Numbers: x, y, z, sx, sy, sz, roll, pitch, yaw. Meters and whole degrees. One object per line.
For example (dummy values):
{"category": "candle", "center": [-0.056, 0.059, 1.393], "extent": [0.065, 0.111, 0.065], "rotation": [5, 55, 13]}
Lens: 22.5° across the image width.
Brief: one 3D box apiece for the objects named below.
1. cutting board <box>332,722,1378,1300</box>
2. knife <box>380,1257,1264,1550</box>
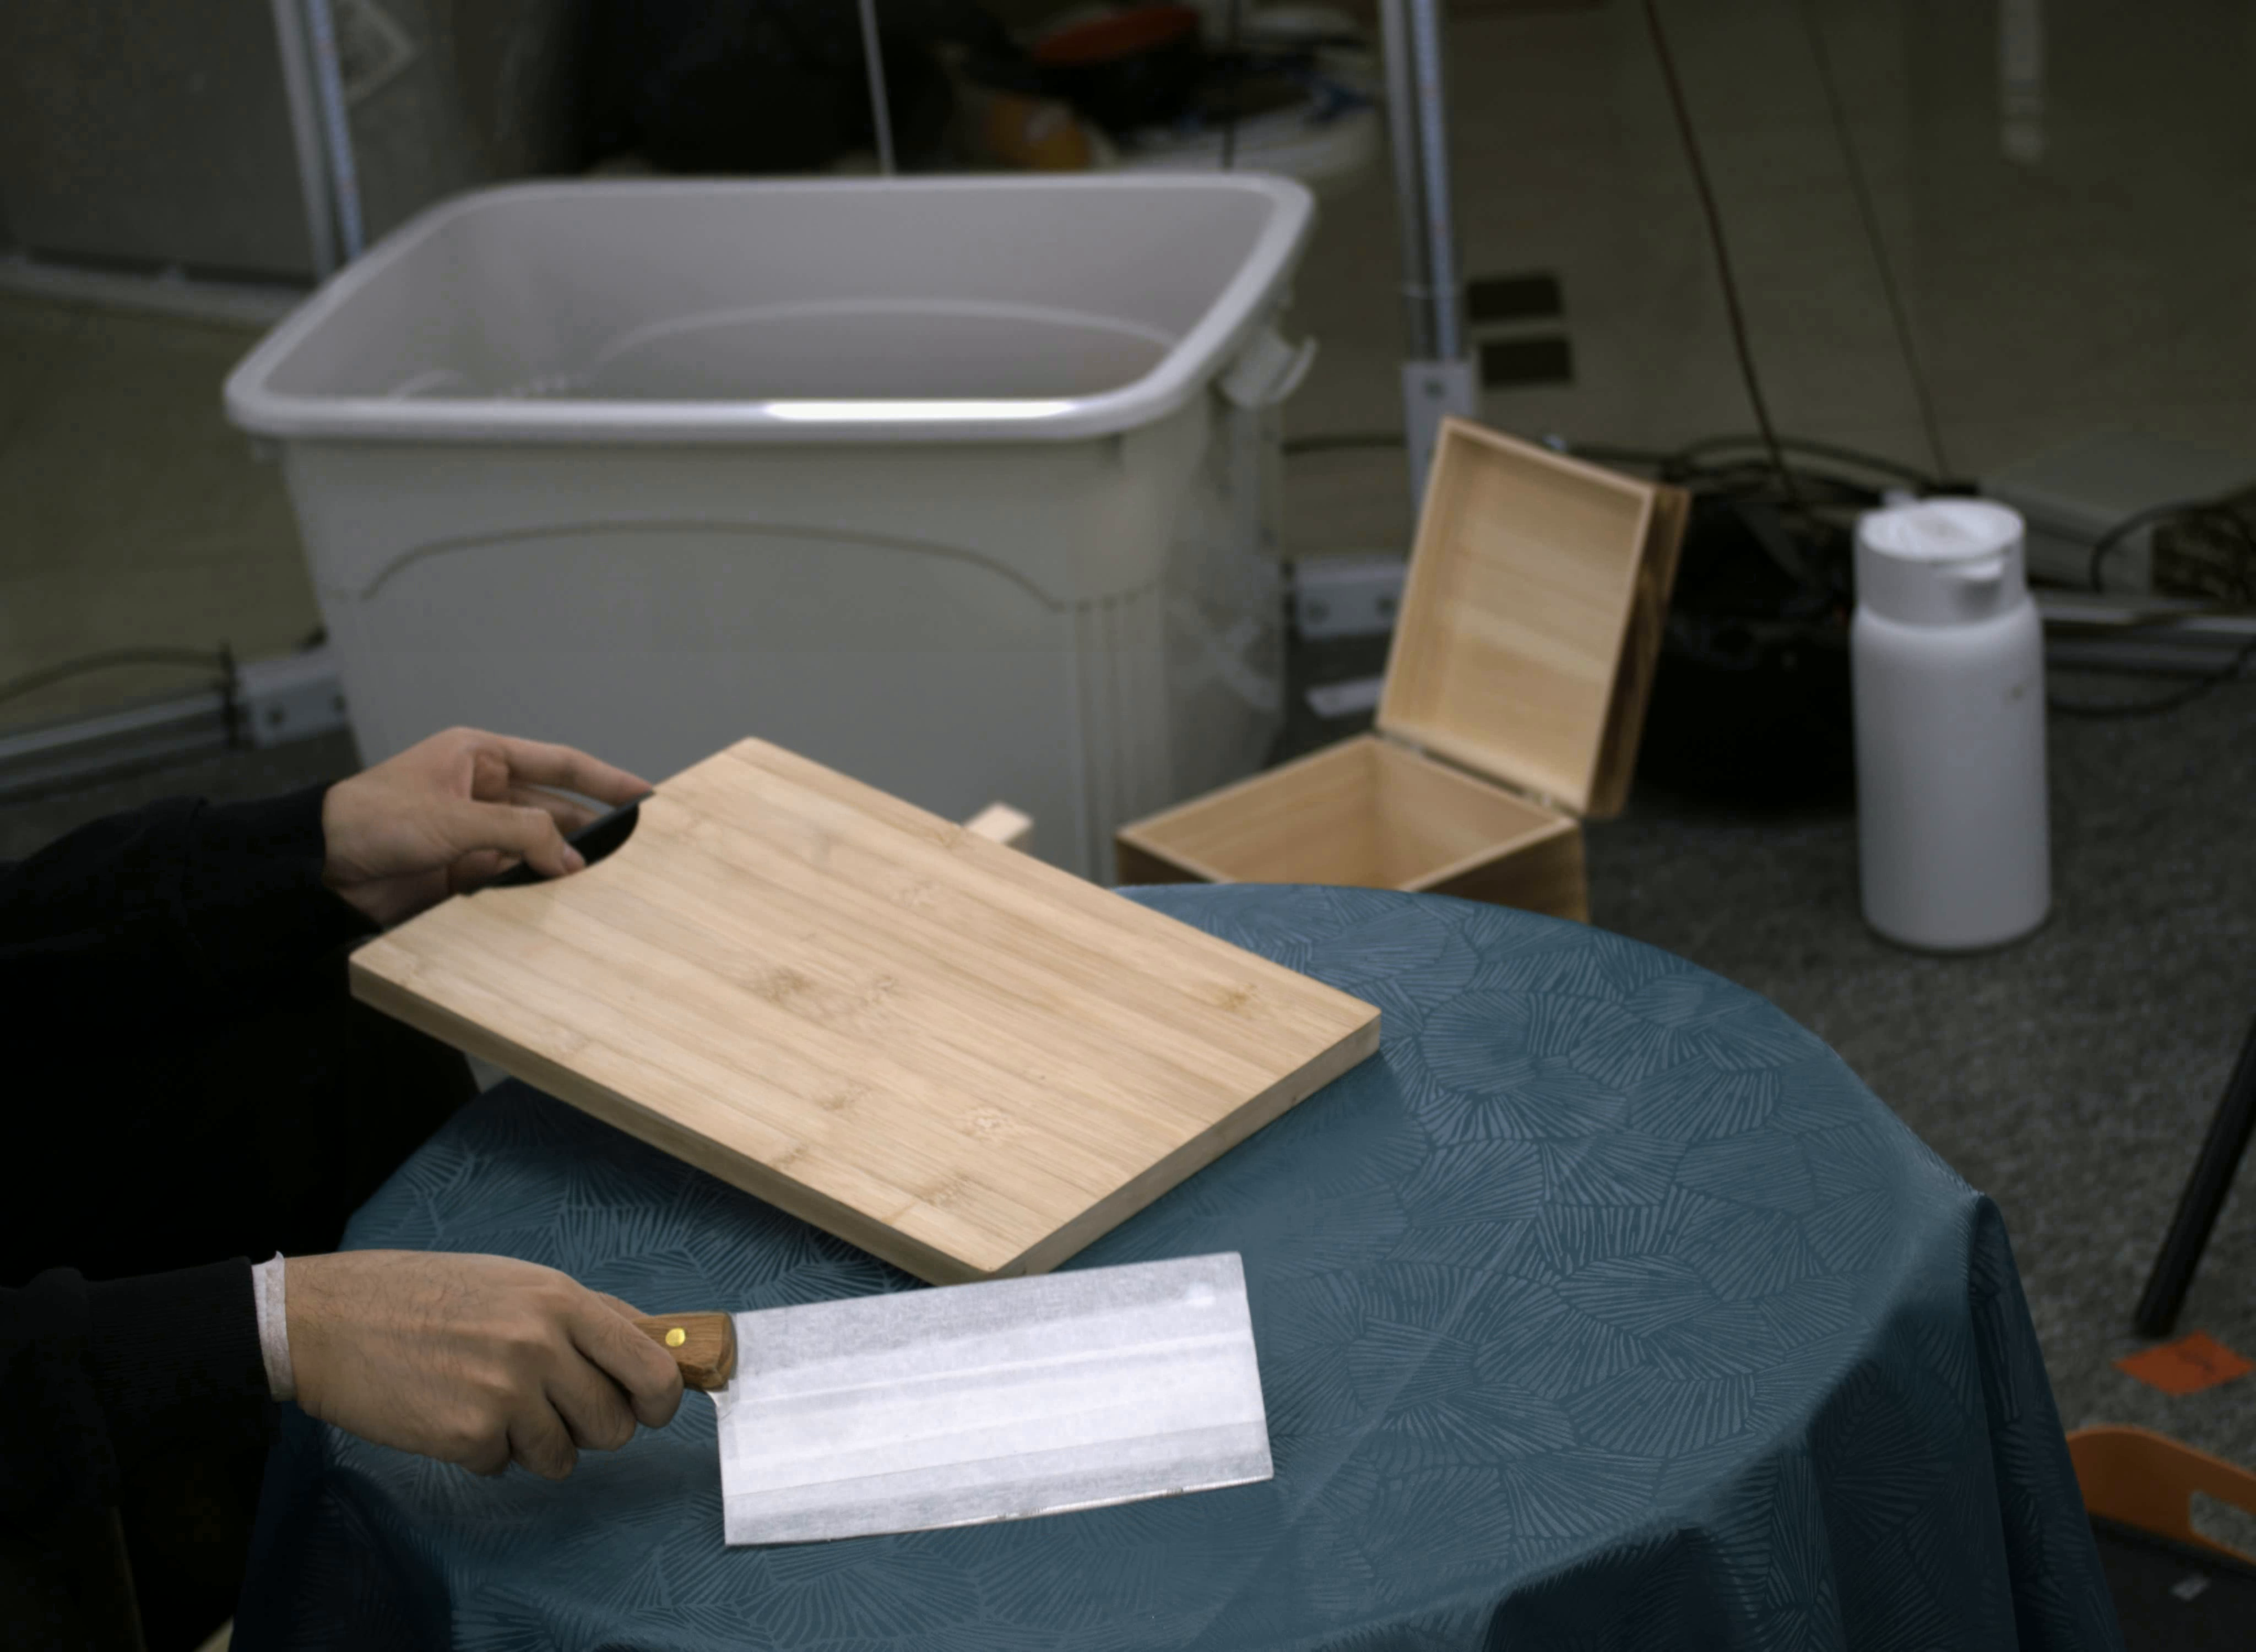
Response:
{"category": "cutting board", "center": [-0.110, 0.067, 2.243], "extent": [0.346, 0.024, 0.248], "rotation": [23, 37, 31]}
{"category": "knife", "center": [-0.106, 0.205, 1.968], "extent": [0.305, 0.021, 0.091], "rotation": [-7, 59, -1]}
